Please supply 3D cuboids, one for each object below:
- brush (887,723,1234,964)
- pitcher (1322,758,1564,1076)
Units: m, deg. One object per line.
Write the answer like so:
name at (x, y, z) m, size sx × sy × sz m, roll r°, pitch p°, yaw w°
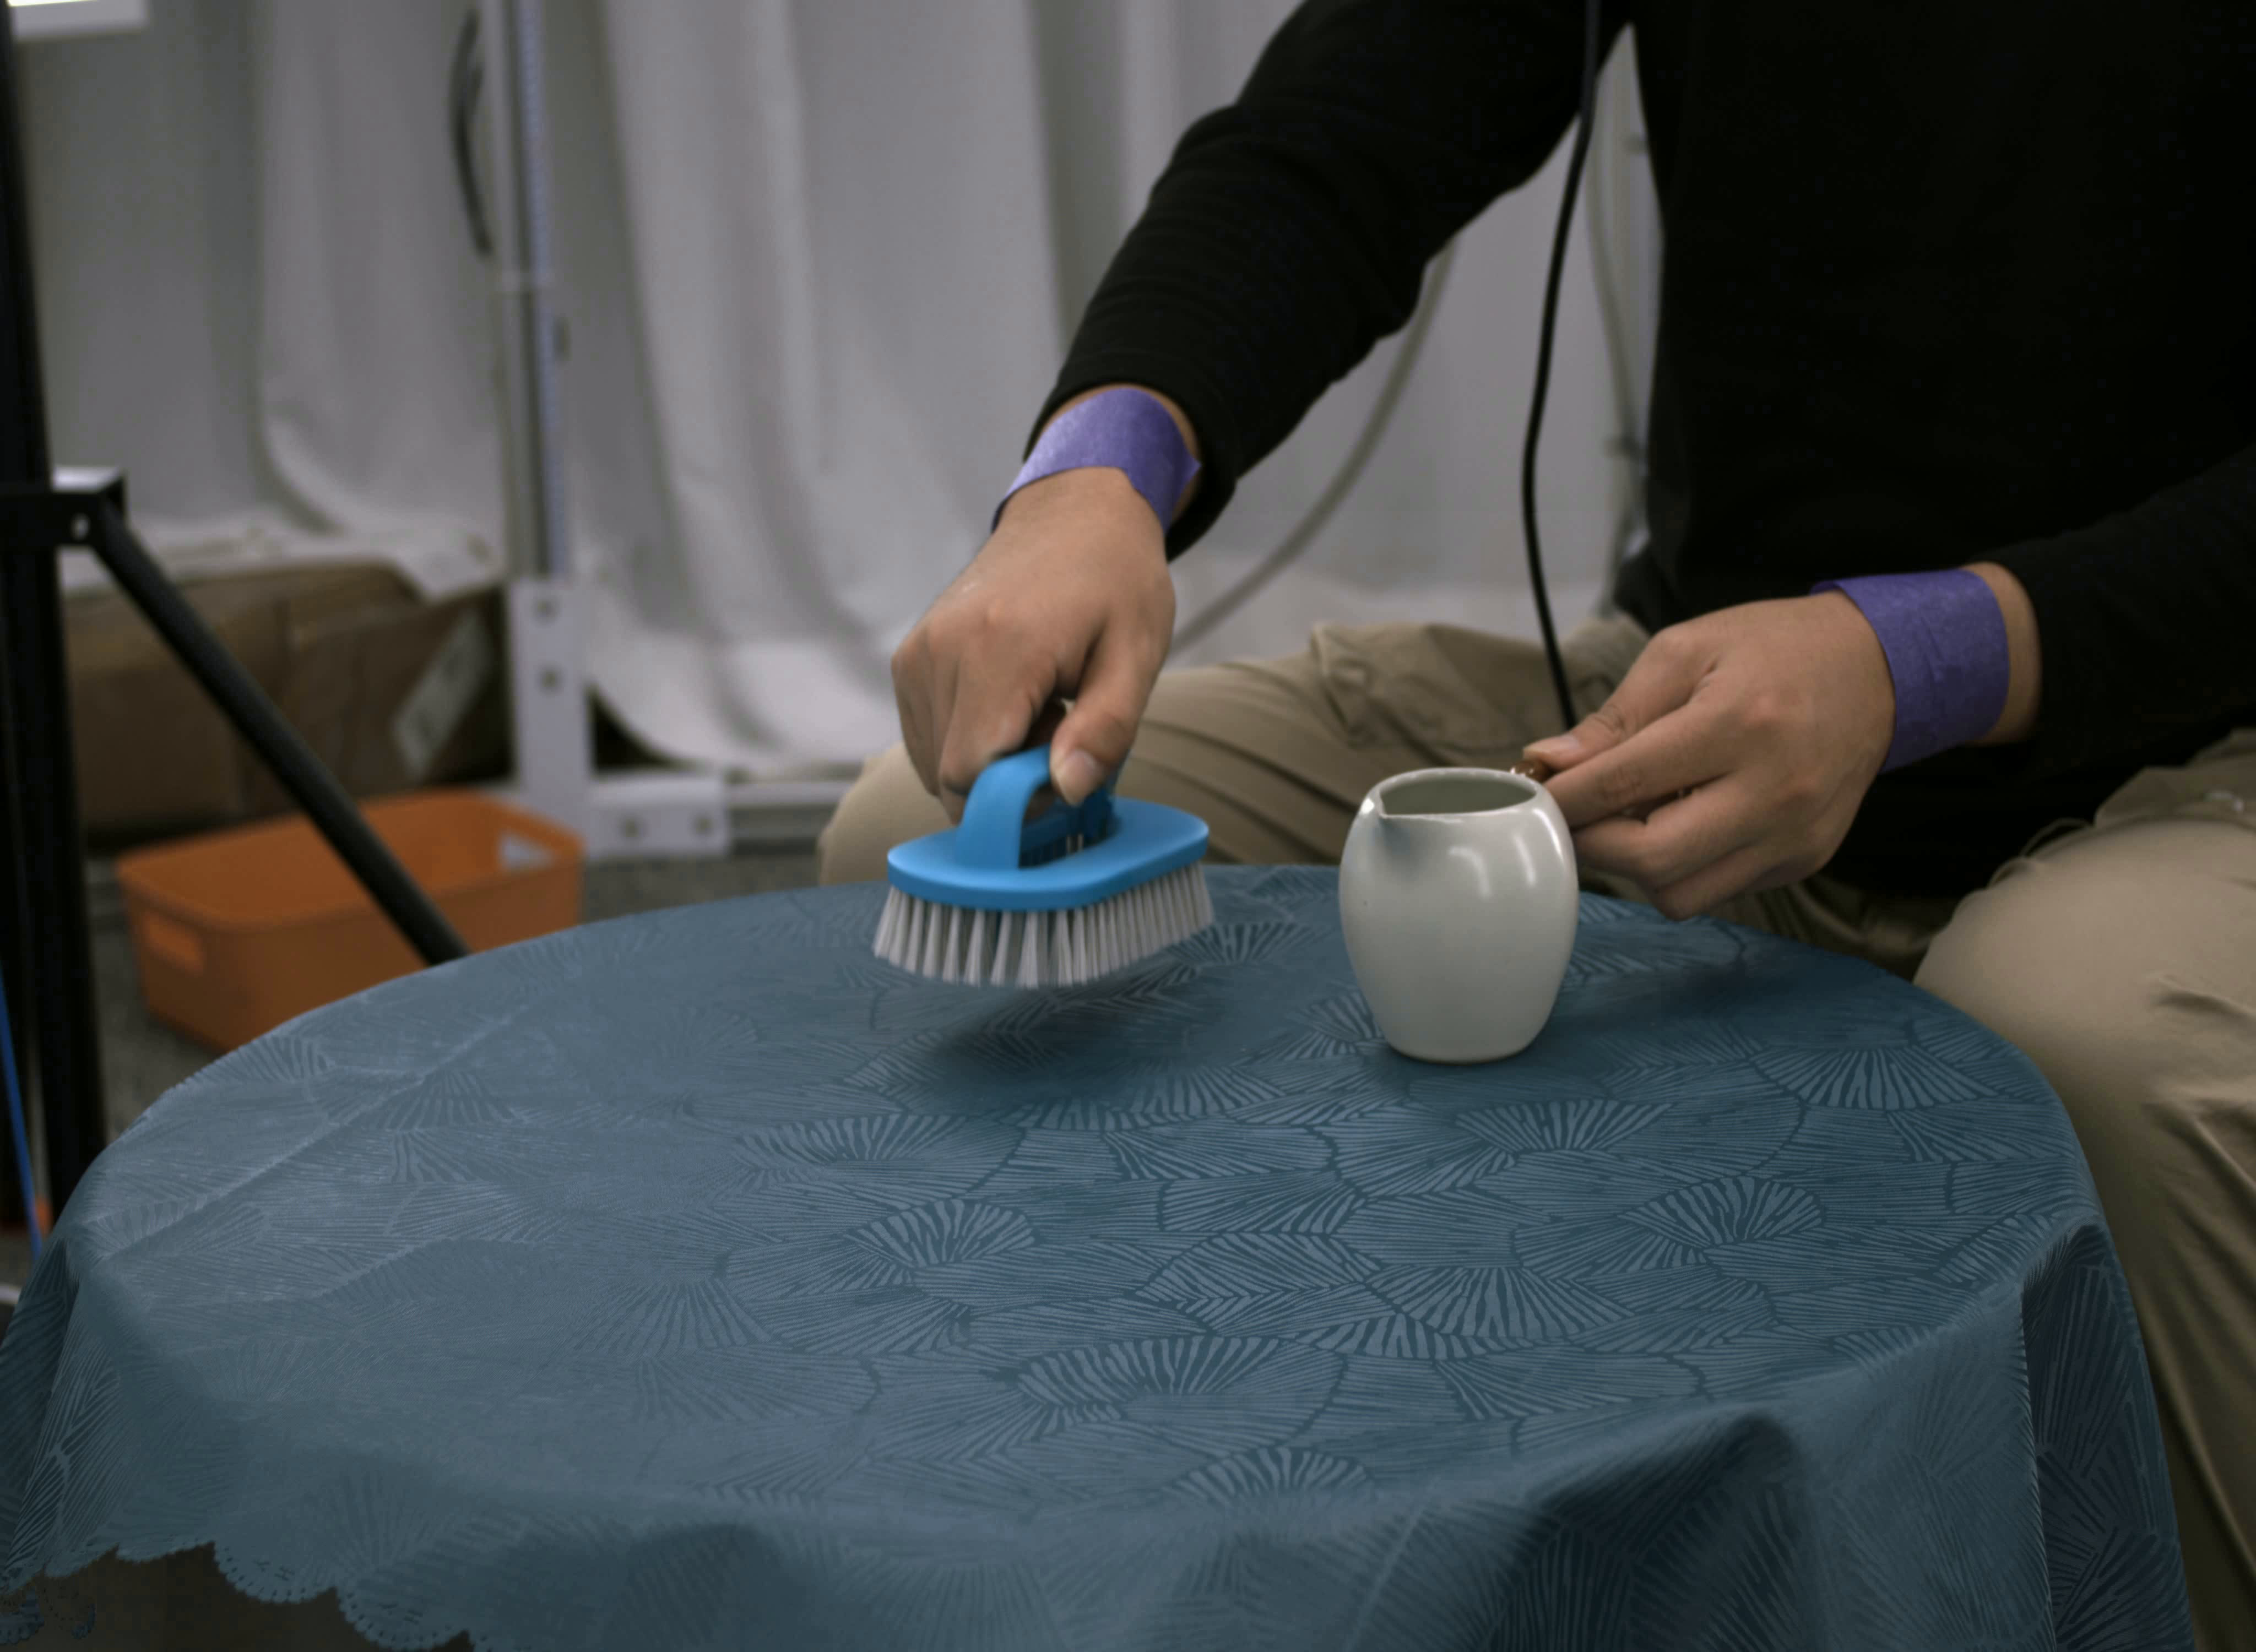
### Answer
brush at (-0.022, 0.002, 1.709) m, size 0.086 × 0.064 × 0.139 m, roll 5°, pitch 11°, yaw 30°
pitcher at (0.103, 0.027, 1.667) m, size 0.077 × 0.088 × 0.117 m, roll 14°, pitch 26°, yaw 31°
